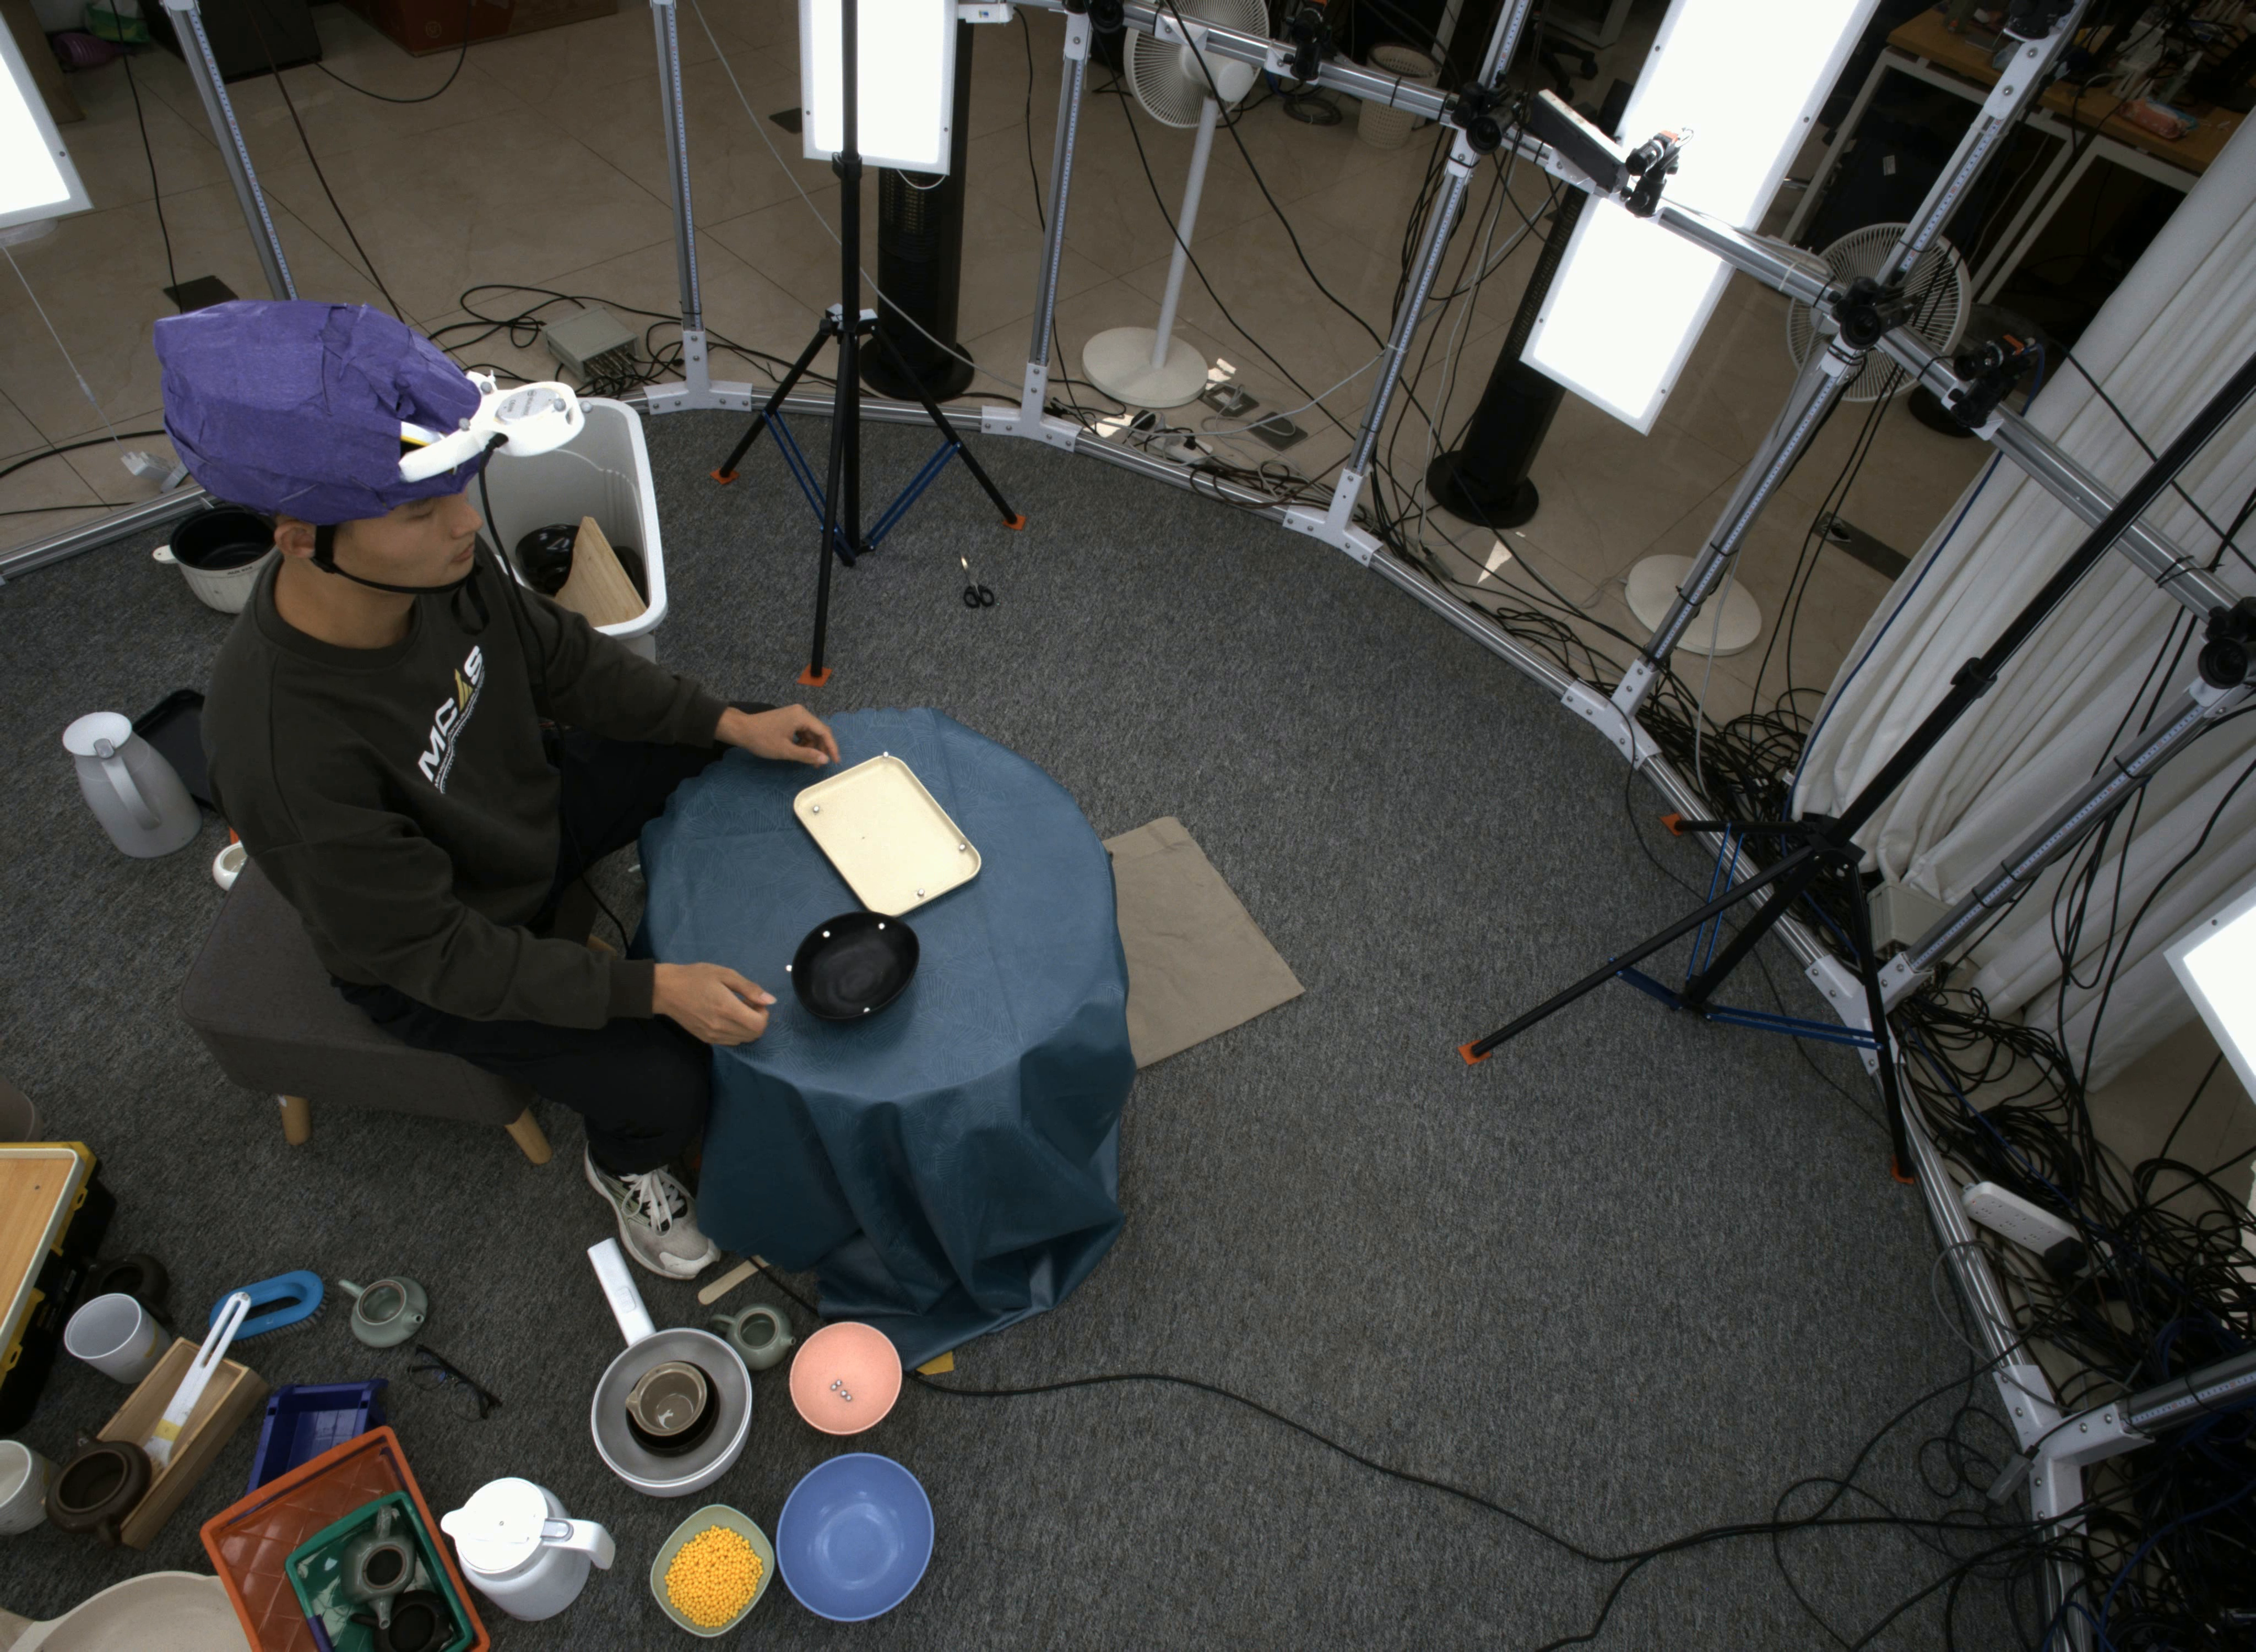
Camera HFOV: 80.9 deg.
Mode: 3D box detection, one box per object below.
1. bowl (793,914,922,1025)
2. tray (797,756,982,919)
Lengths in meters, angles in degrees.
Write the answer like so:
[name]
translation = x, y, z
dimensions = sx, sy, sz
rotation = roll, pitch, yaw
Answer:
[bowl]
translation = -0.329, 0.180, 1.584
dimensions = 0.135, 0.068, 0.170
rotation = 35, 52, 13
[tray]
translation = -0.320, 0.013, 1.740
dimensions = 0.172, 0.018, 0.234
rotation = -29, 65, -29
